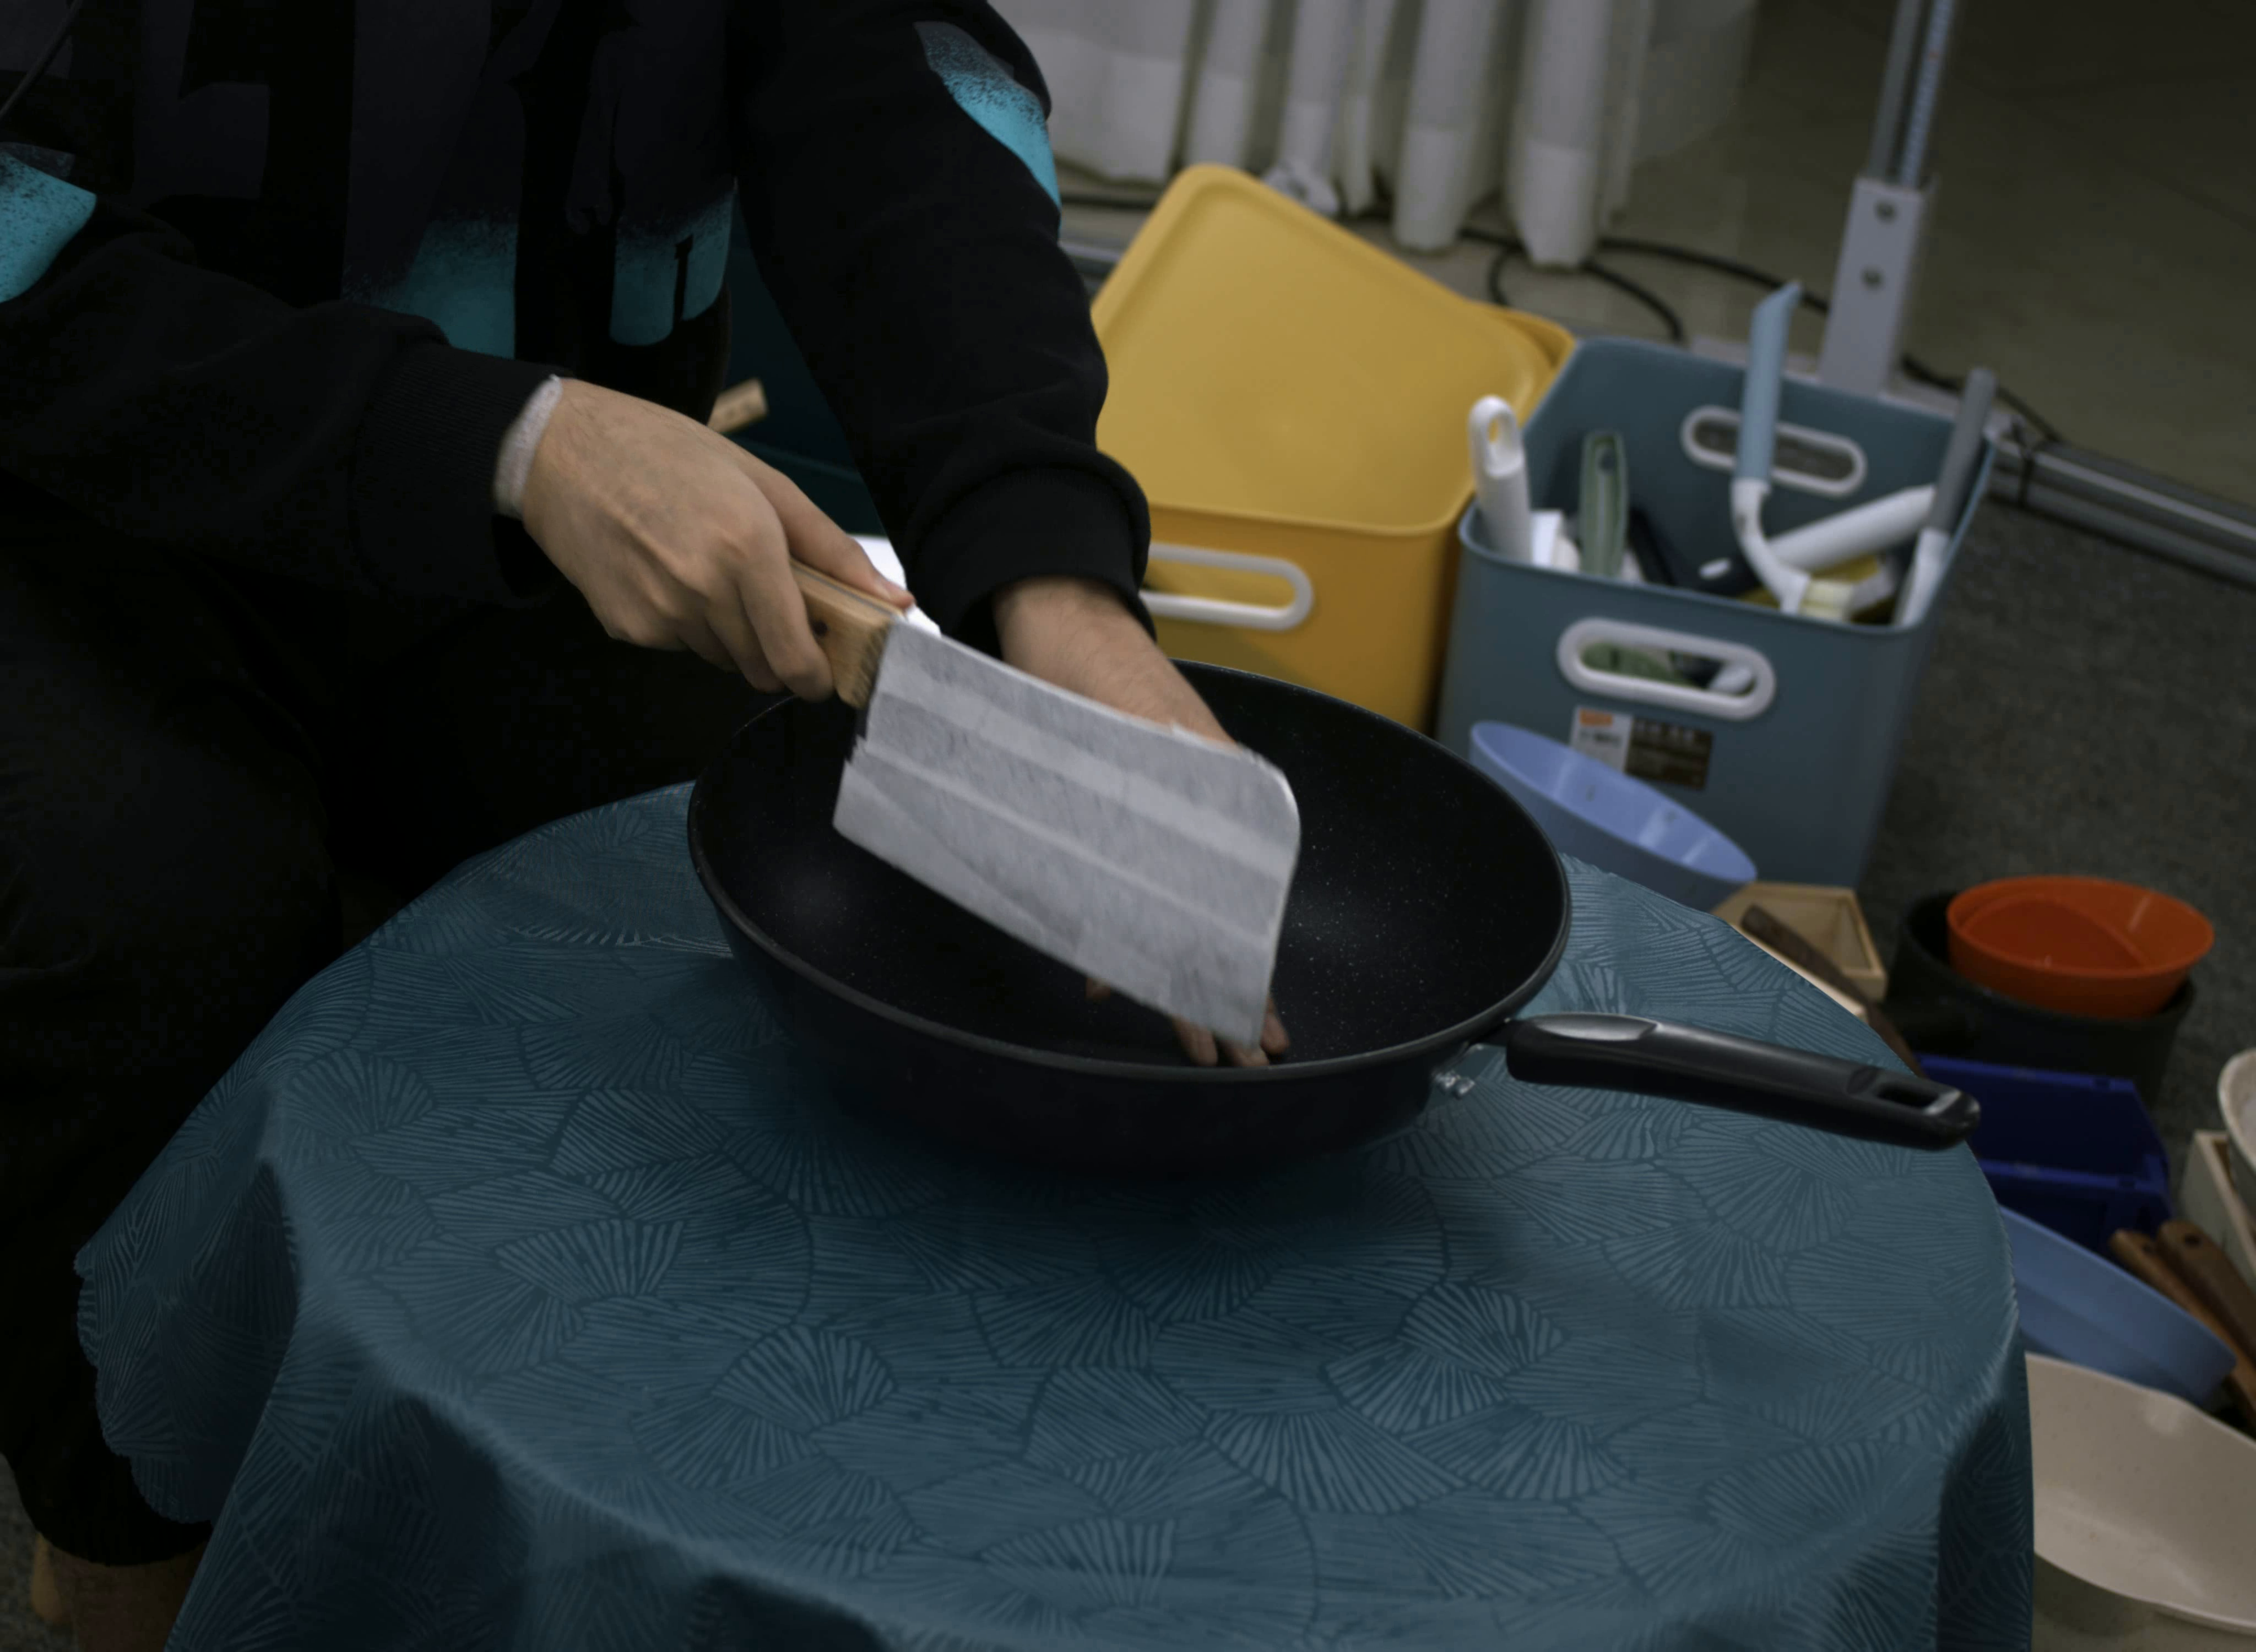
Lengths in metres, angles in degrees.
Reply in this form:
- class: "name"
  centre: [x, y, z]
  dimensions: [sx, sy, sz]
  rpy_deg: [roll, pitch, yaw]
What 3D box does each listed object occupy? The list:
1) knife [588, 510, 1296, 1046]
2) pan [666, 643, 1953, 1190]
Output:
- class: "knife"
  centre: [-0.067, -0.031, 1.843]
  dimensions: [0.317, 0.114, 0.021]
  rpy_deg: [31, 27, 26]
- class: "pan"
  centre: [0.060, 0.061, 1.822]
  dimensions: [0.479, 0.111, 0.309]
  rpy_deg: [22, 32, 28]
